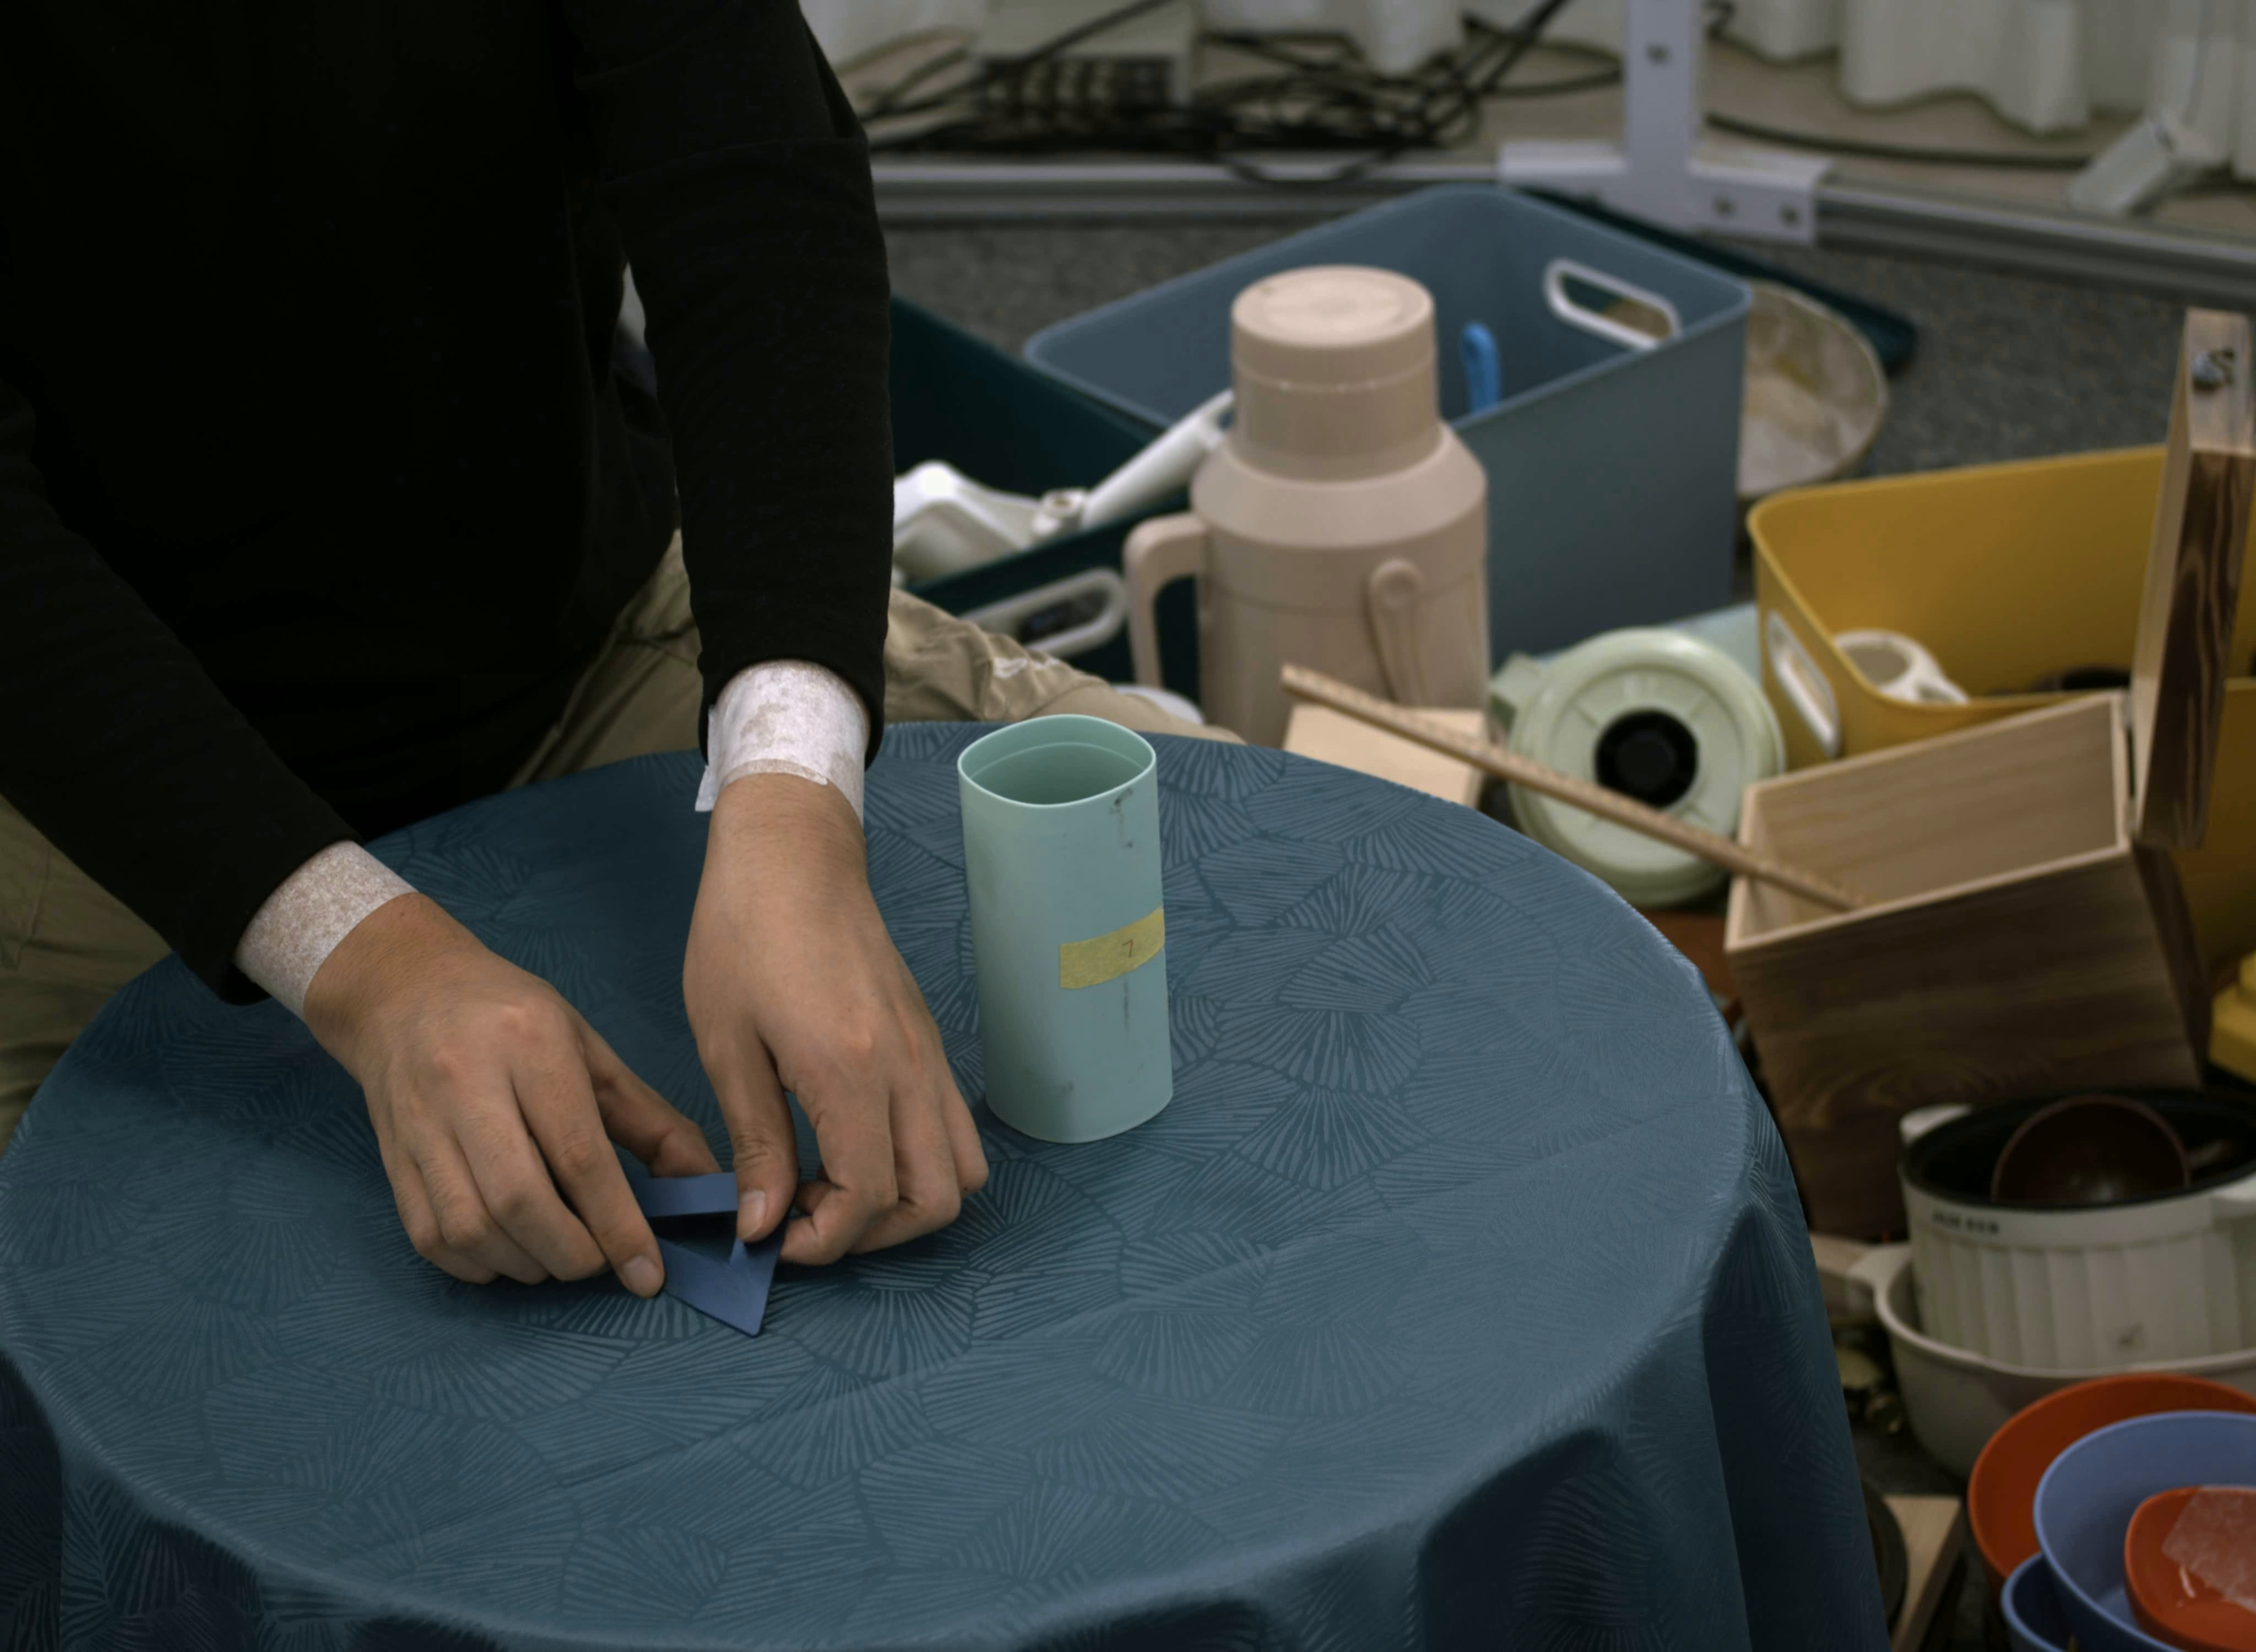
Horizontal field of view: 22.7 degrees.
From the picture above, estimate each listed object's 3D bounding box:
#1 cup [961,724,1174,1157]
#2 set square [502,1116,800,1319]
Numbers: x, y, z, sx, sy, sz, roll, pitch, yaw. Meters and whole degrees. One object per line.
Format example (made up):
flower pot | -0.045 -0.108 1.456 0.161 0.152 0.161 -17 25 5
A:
cup | -0.020 0.038 1.893 0.066 0.131 0.068 -2 27 2
set square | -0.152 0.112 1.849 0.062 0.006 0.132 -46 49 -15
